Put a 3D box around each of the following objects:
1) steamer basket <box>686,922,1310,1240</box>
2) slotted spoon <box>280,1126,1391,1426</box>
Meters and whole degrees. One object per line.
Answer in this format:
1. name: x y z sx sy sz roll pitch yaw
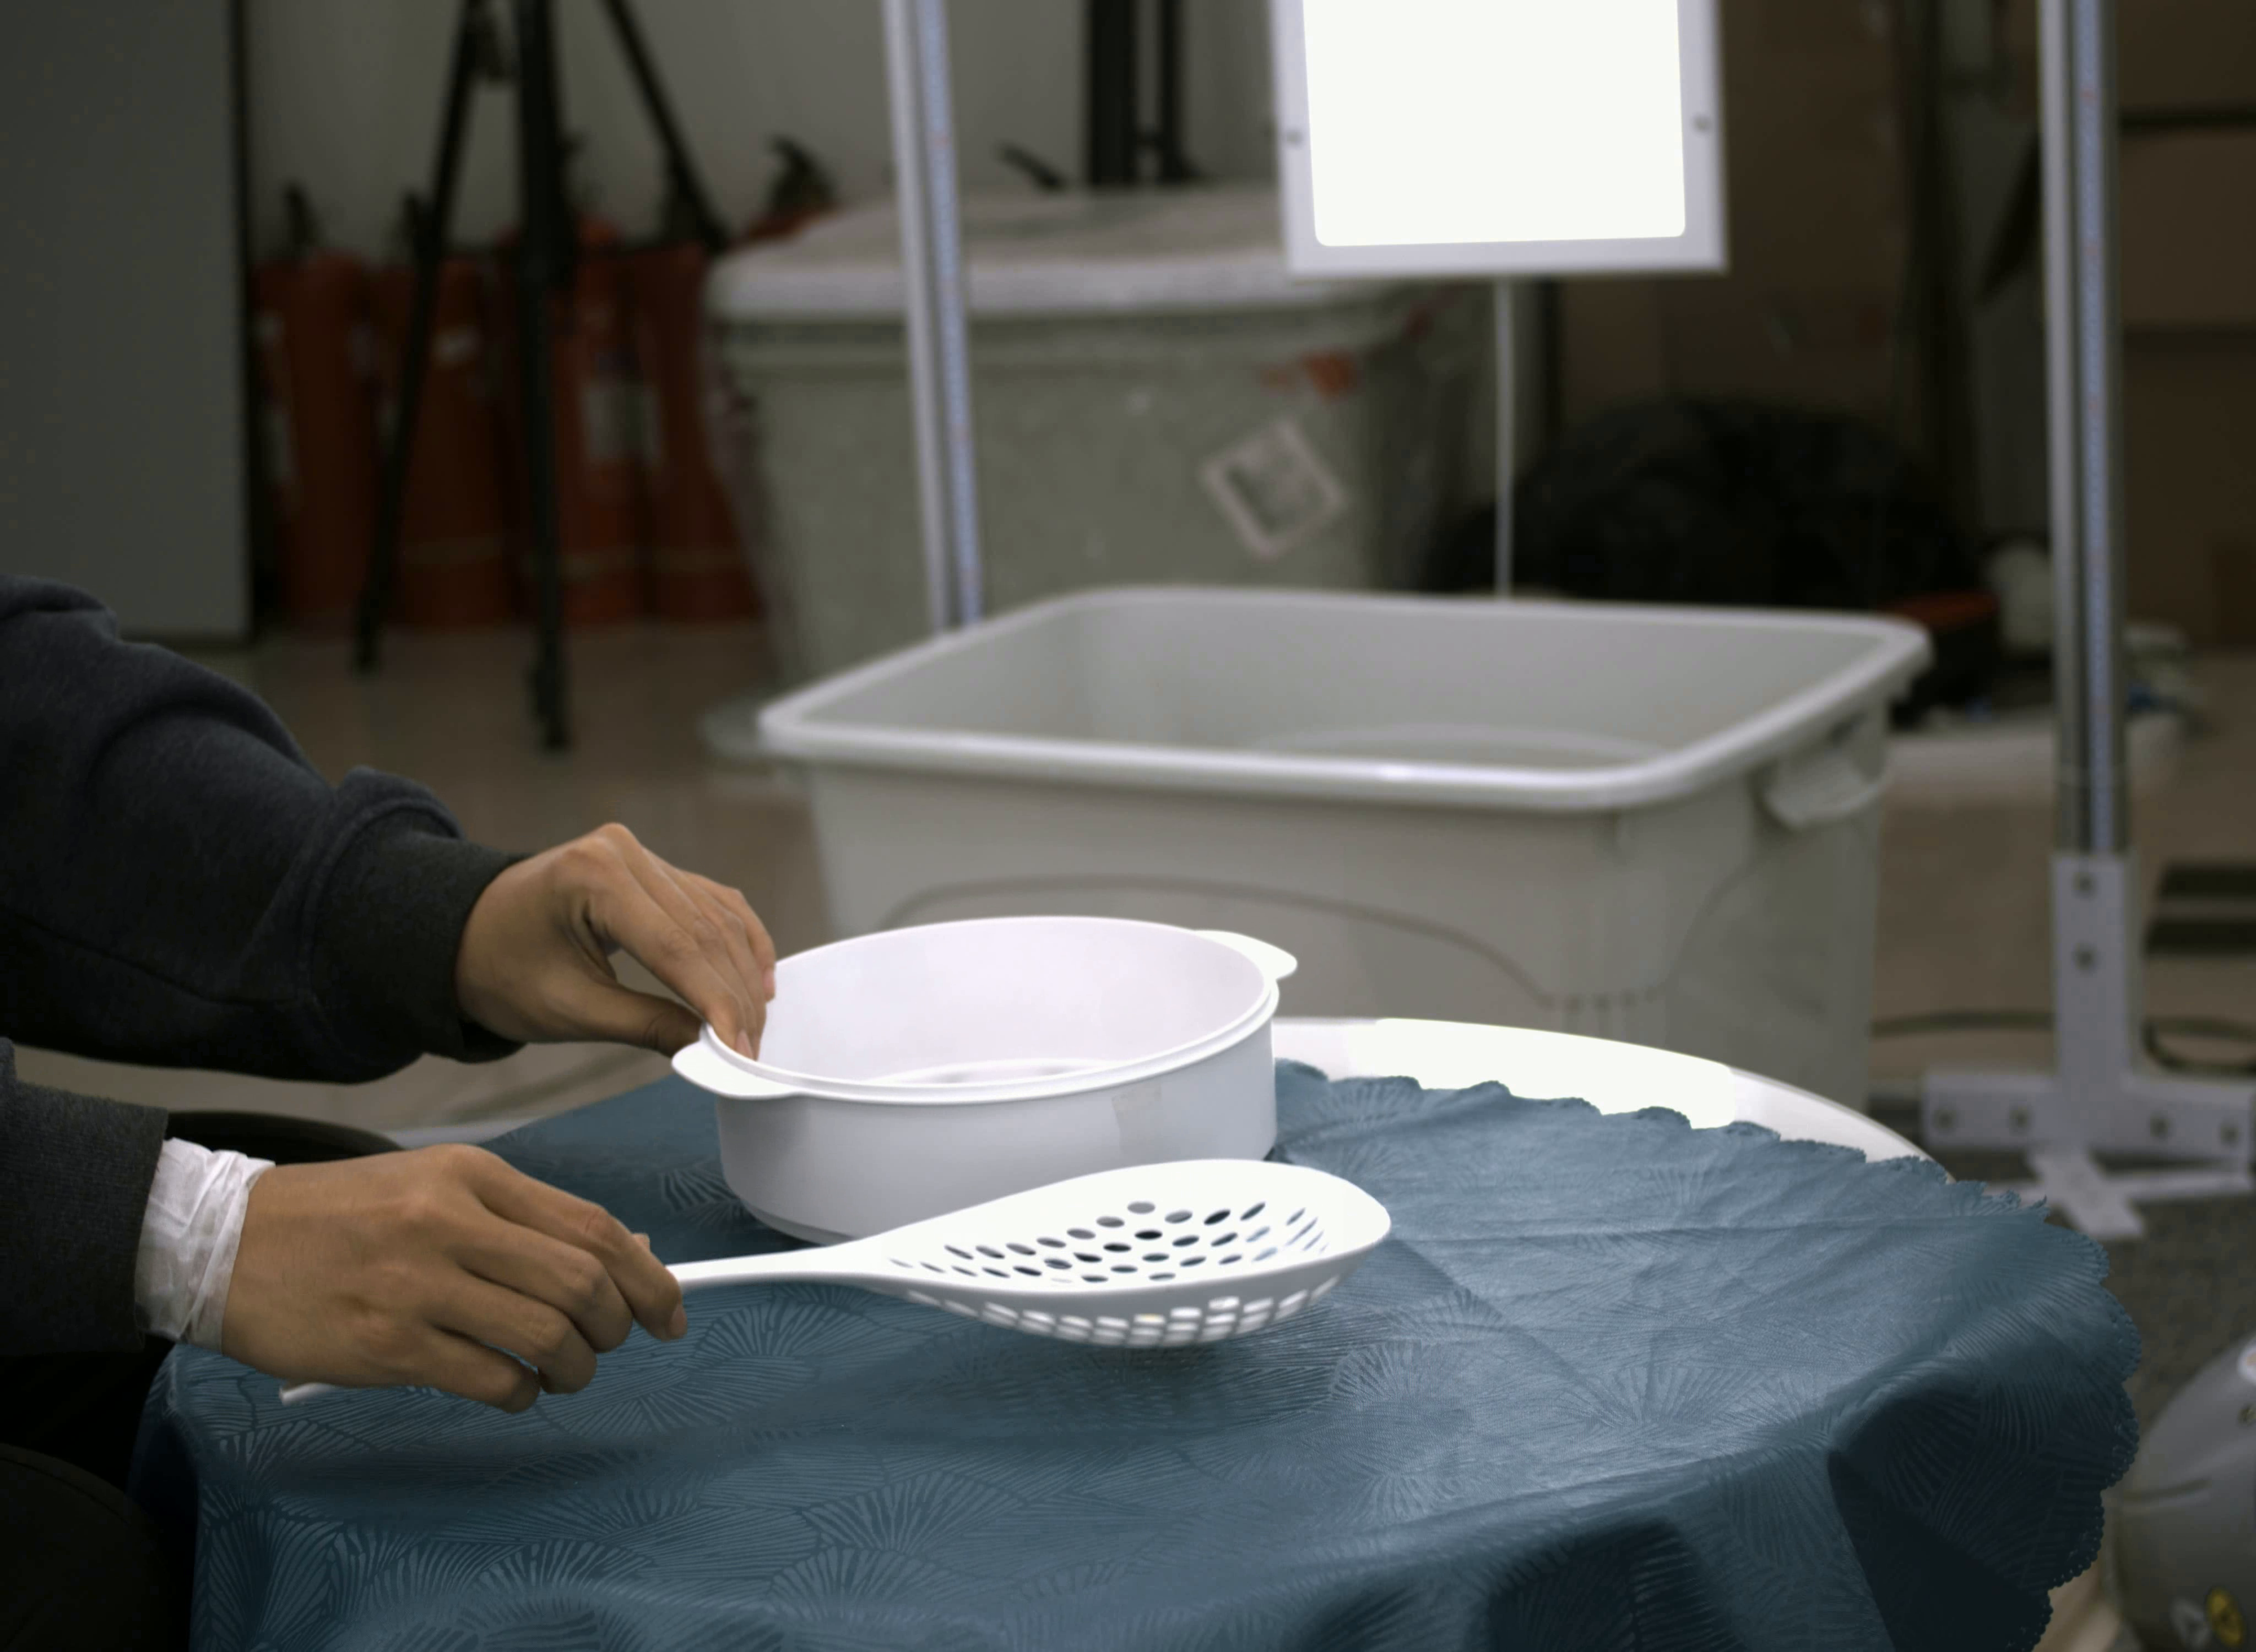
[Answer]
1. steamer basket: -0.041 0.090 1.912 0.225 0.069 0.205 -10 16 -28
2. slotted spoon: -0.089 0.143 1.702 0.343 0.050 0.138 -4 13 -12
